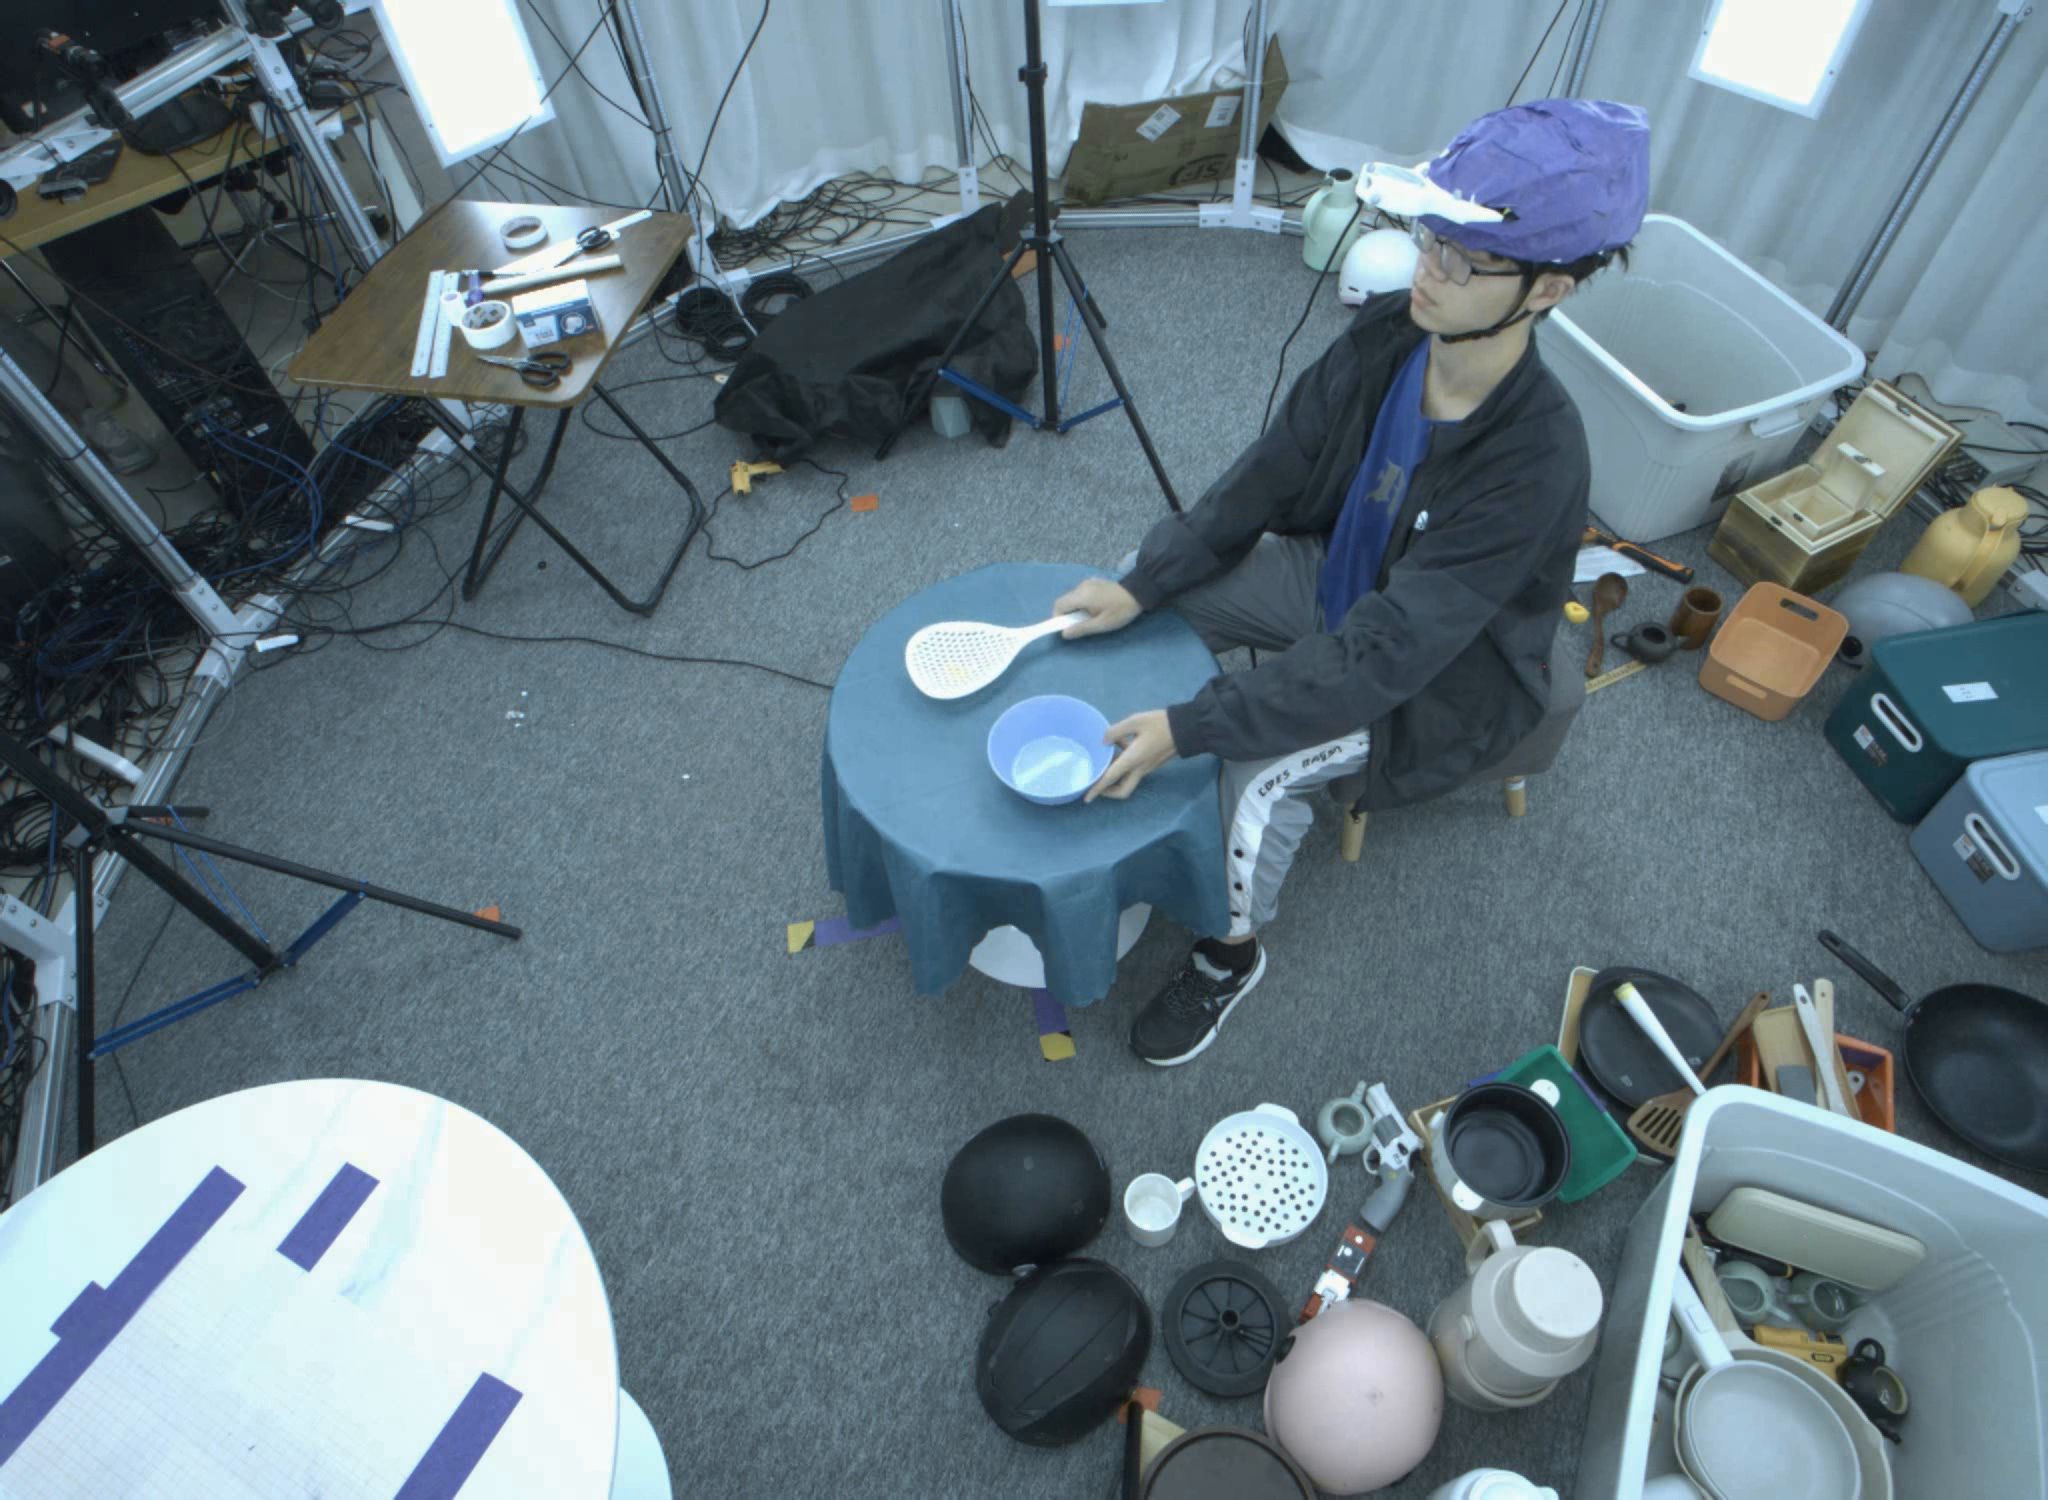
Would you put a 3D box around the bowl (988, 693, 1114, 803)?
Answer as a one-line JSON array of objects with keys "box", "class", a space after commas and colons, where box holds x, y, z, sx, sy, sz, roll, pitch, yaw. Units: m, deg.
[{"box": [0.039, 0.009, 1.726, 0.176, 0.071, 0.174, -1, 55, 2], "class": "bowl"}]

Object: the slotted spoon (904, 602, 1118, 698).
[{"box": [-0.011, -0.167, 1.867, 0.350, 0.051, 0.134, -22, 63, -12], "class": "slotted spoon"}]
